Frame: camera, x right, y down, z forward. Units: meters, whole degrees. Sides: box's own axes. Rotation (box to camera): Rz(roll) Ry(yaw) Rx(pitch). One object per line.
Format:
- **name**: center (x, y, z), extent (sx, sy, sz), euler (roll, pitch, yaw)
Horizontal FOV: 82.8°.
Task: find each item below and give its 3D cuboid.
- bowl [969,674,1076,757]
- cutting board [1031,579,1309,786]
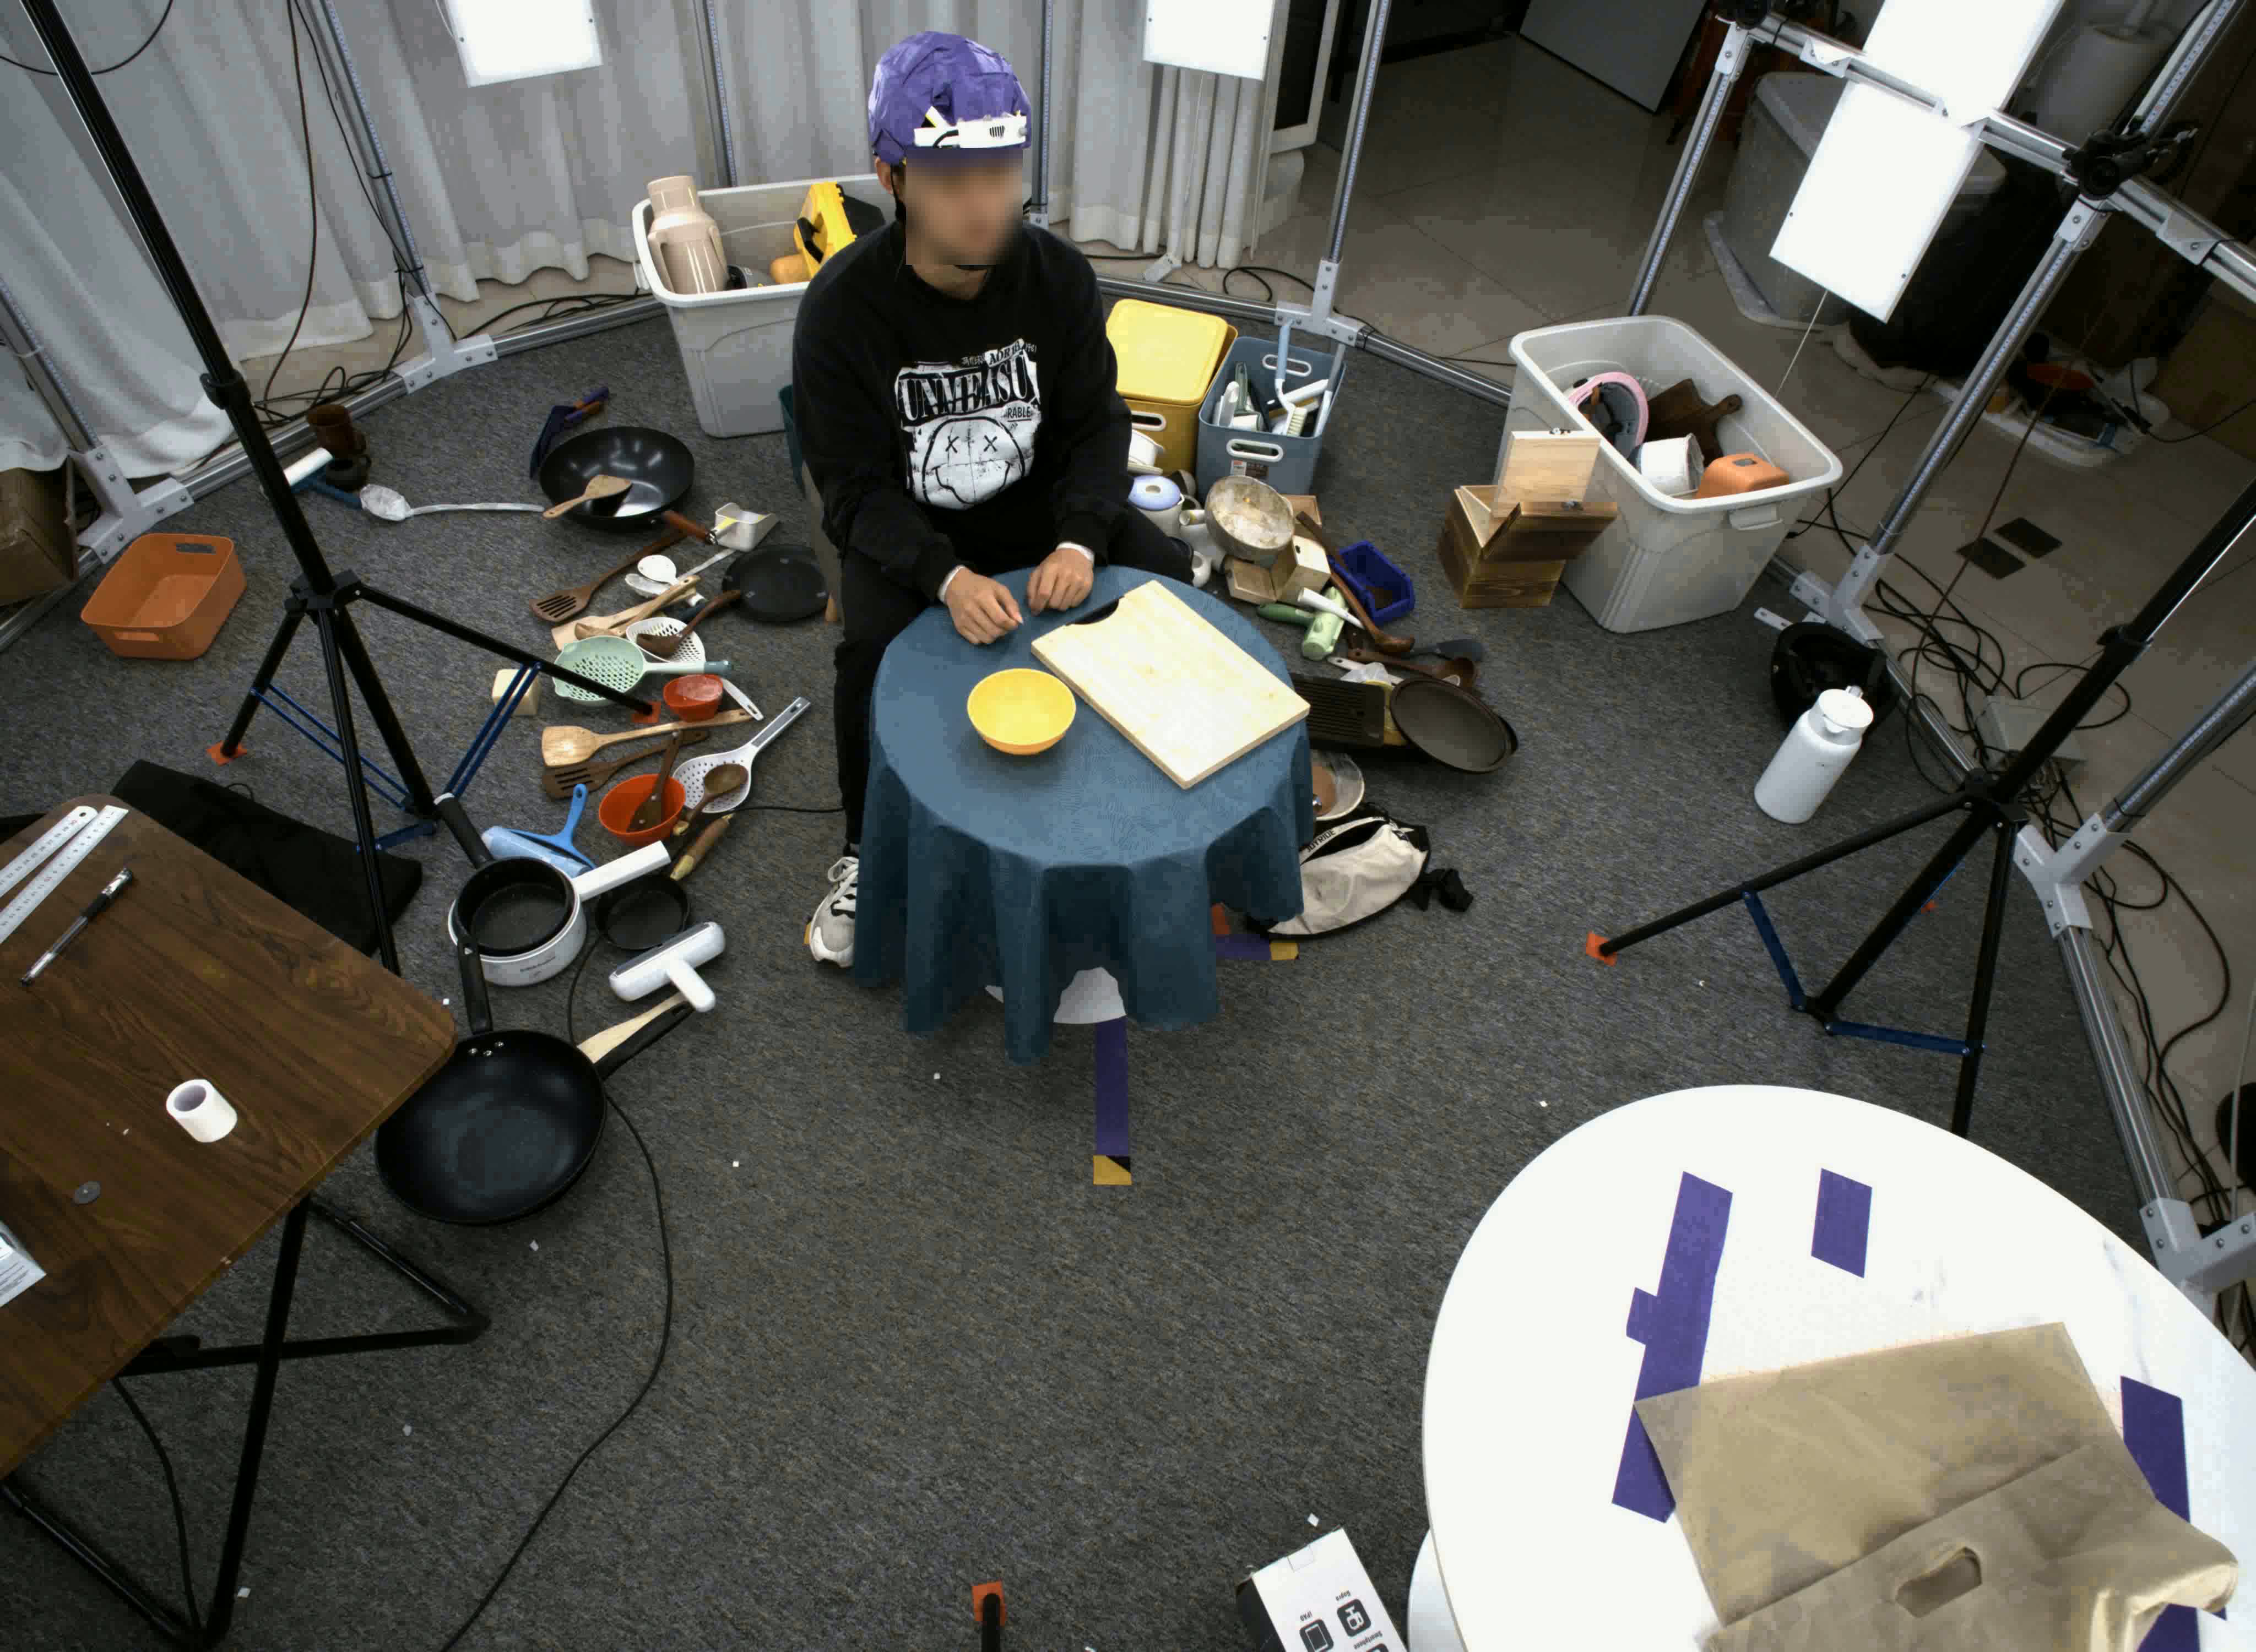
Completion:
- **bowl**: center (-0.145, -0.141, 1.761), extent (0.145, 0.058, 0.149), euler (3, 46, -3)
- **cutting board**: center (0.057, -0.216, 1.866), extent (0.252, 0.023, 0.354), euler (-31, 58, -28)
